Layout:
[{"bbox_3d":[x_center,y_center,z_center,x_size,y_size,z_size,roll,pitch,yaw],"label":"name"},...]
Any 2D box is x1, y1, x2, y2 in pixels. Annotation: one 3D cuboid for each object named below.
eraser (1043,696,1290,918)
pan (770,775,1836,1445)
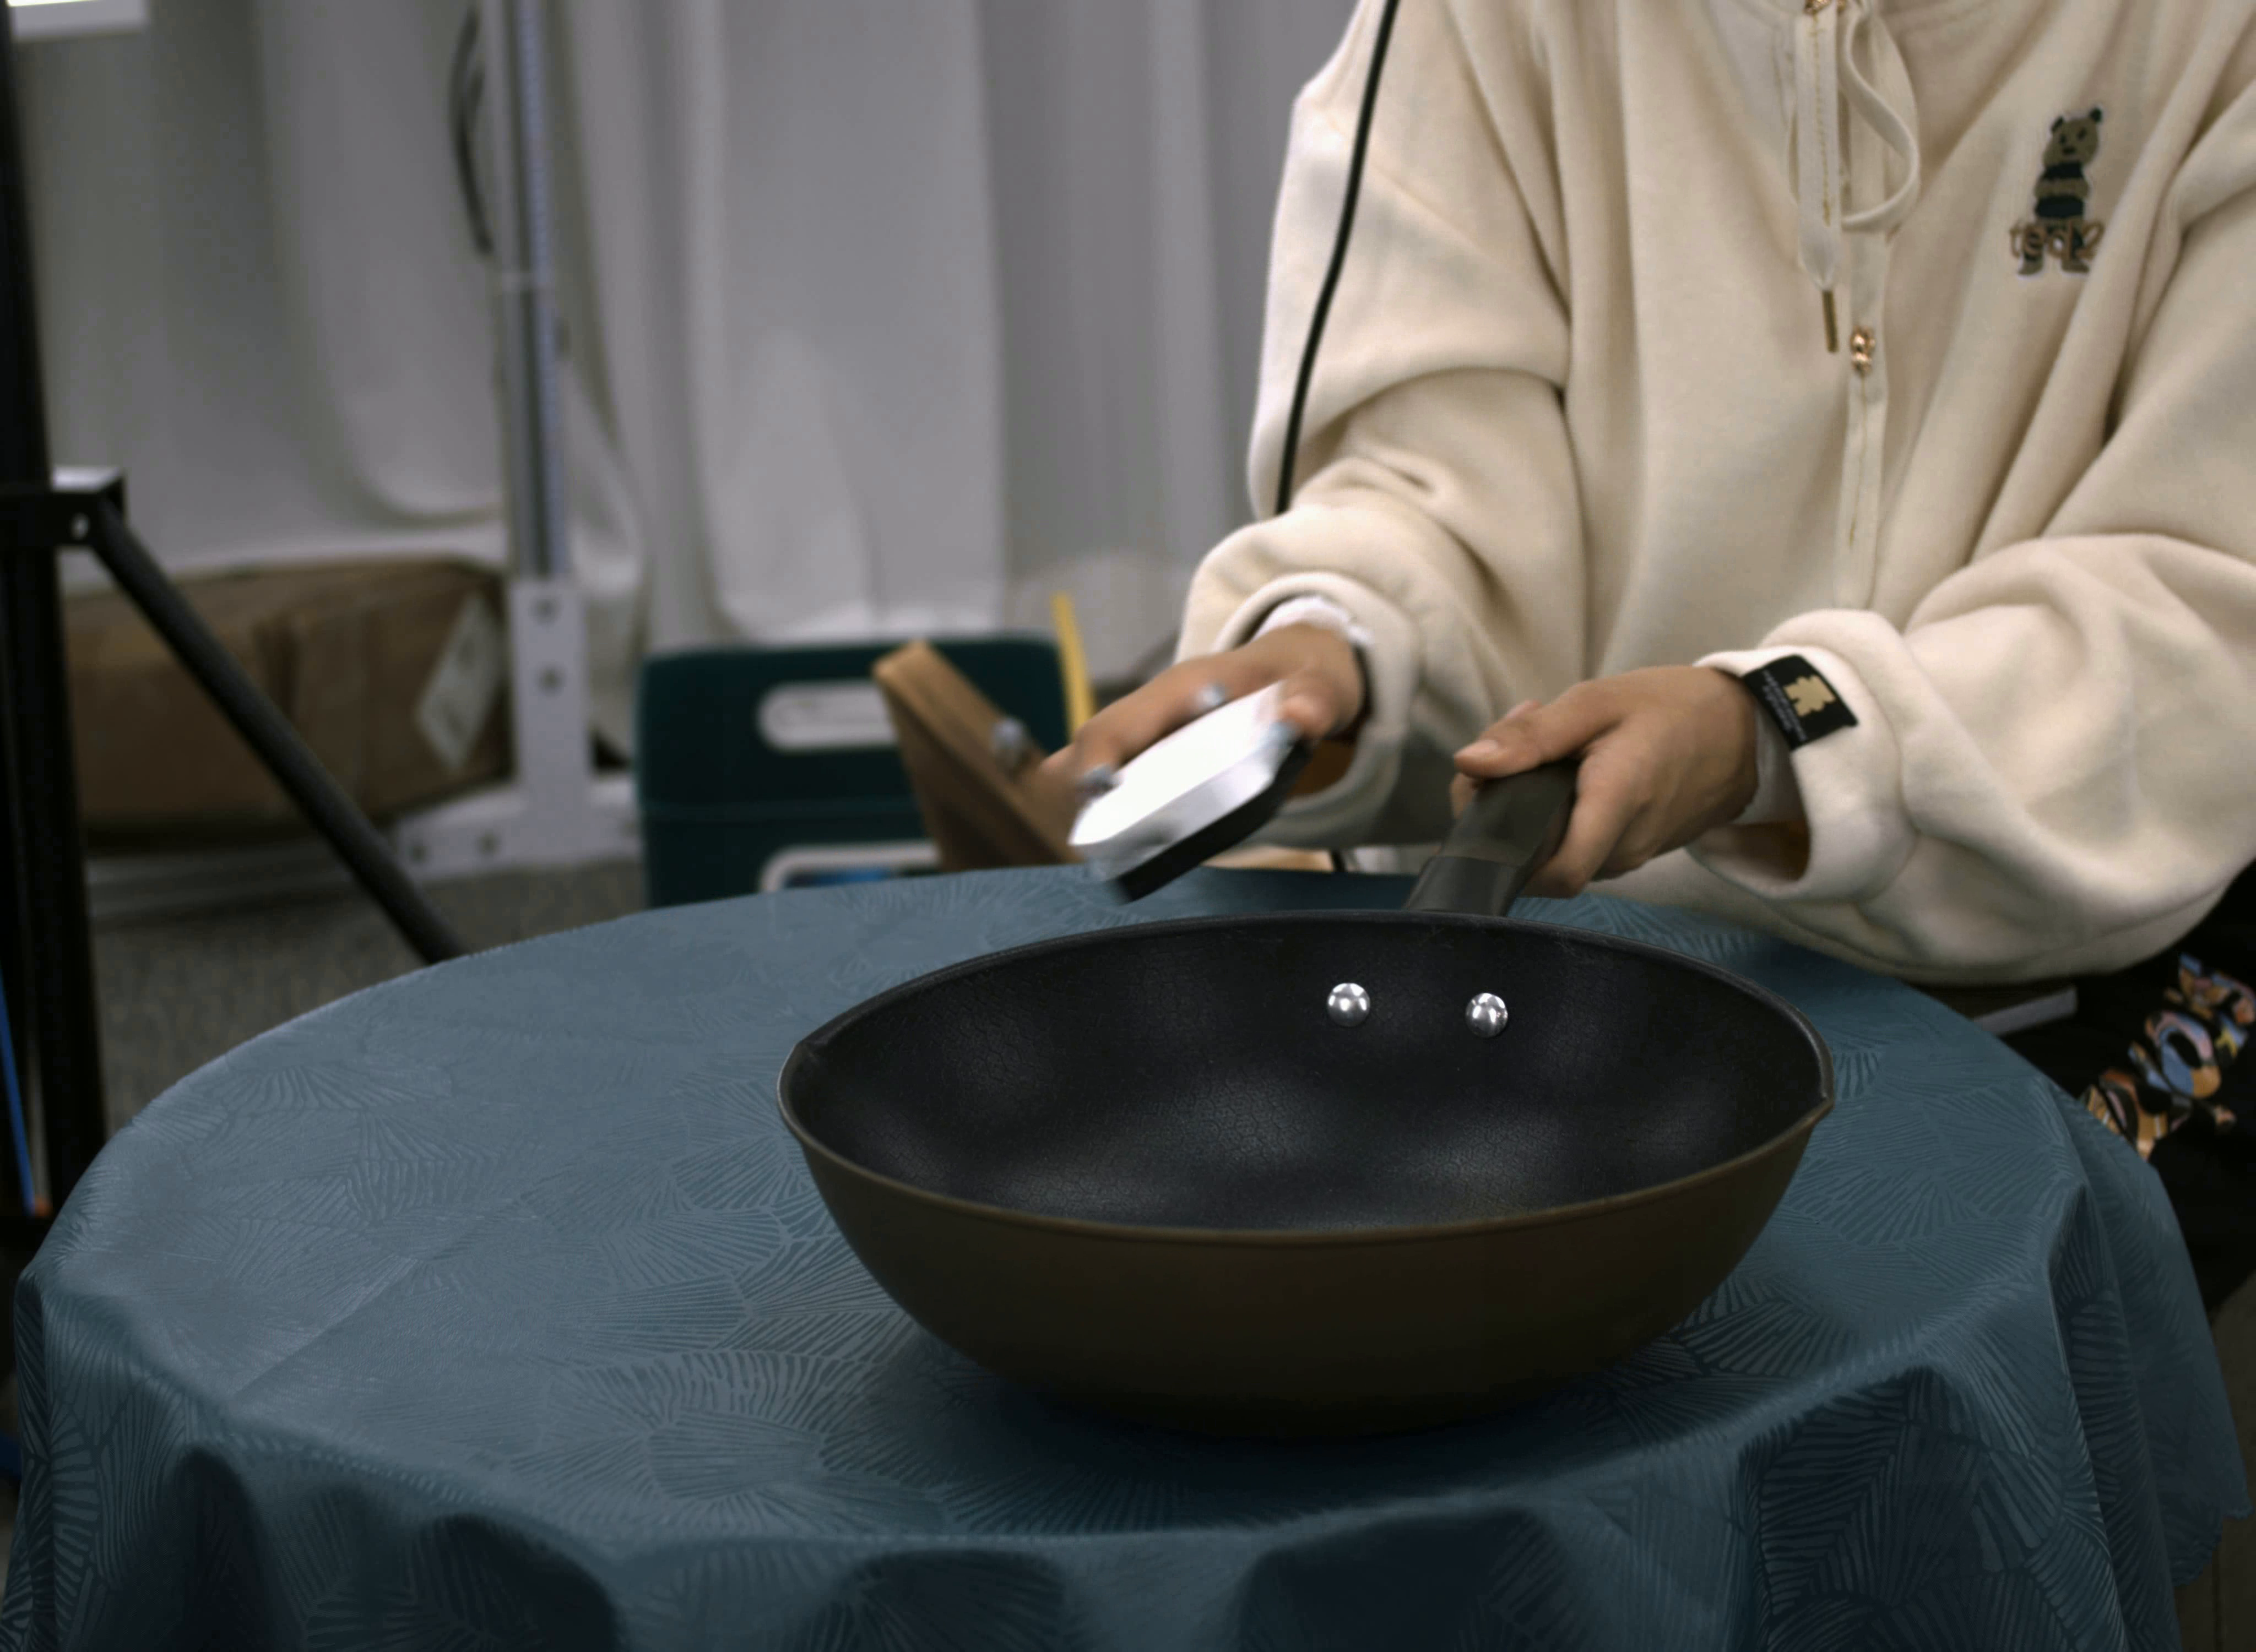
[{"bbox_3d":[0.014,-0.008,1.650,0.064,0.034,0.130,-28,5,14],"label":"eraser"},{"bbox_3d":[0.074,0.077,1.504,0.291,0.087,0.458,4,16,18],"label":"pan"}]
